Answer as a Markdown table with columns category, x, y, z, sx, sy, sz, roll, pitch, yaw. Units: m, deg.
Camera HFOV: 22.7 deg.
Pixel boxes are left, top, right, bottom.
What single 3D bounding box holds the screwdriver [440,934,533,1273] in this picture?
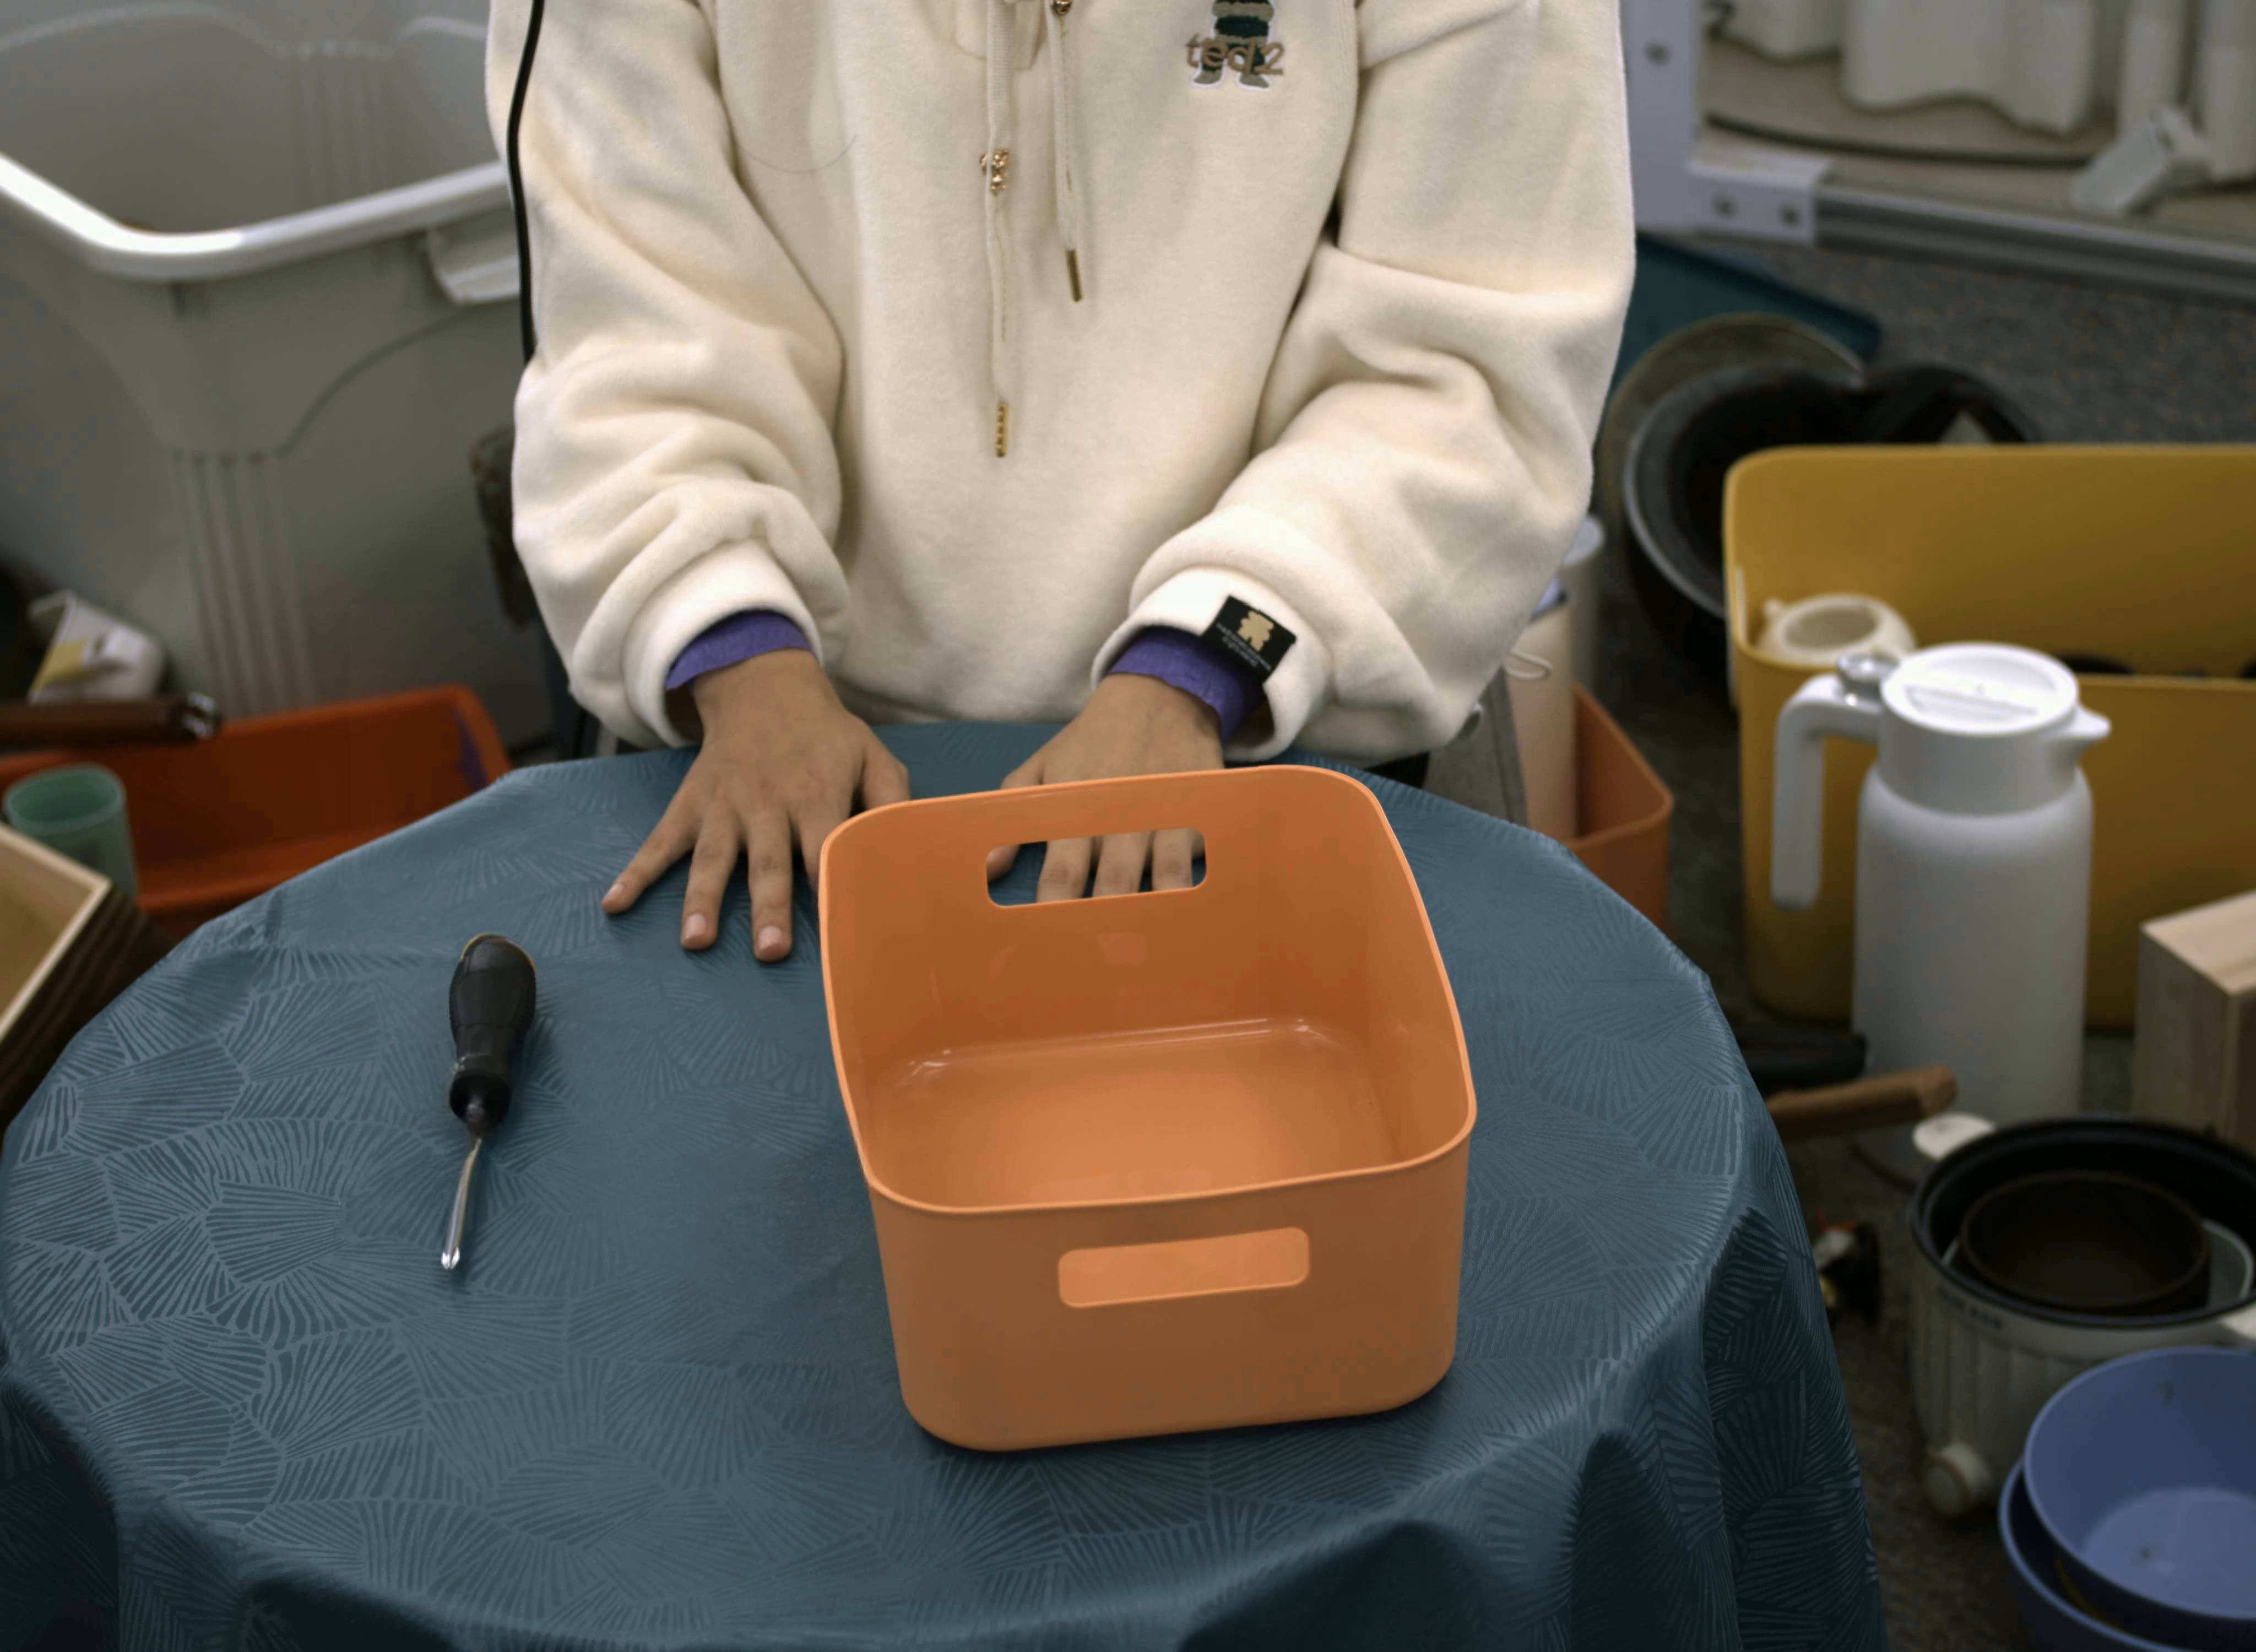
| category | x | y | z | sx | sy | sz | roll | pitch | yaw |
| --- | --- | --- | --- | --- | --- | --- | --- | --- | --- |
| screwdriver | -0.226 | 0.097 | 1.911 | 0.031 | 0.031 | 0.199 | -1 | 31 | 3 |

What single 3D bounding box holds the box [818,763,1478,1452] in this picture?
| category | x | y | z | sx | sy | sz | roll | pitch | yaw |
| --- | --- | --- | --- | --- | --- | --- | --- | --- | --- |
| box | 0.006 | 0.089 | 1.811 | 0.199 | 0.101 | 0.277 | -6 | 28 | -4 |
